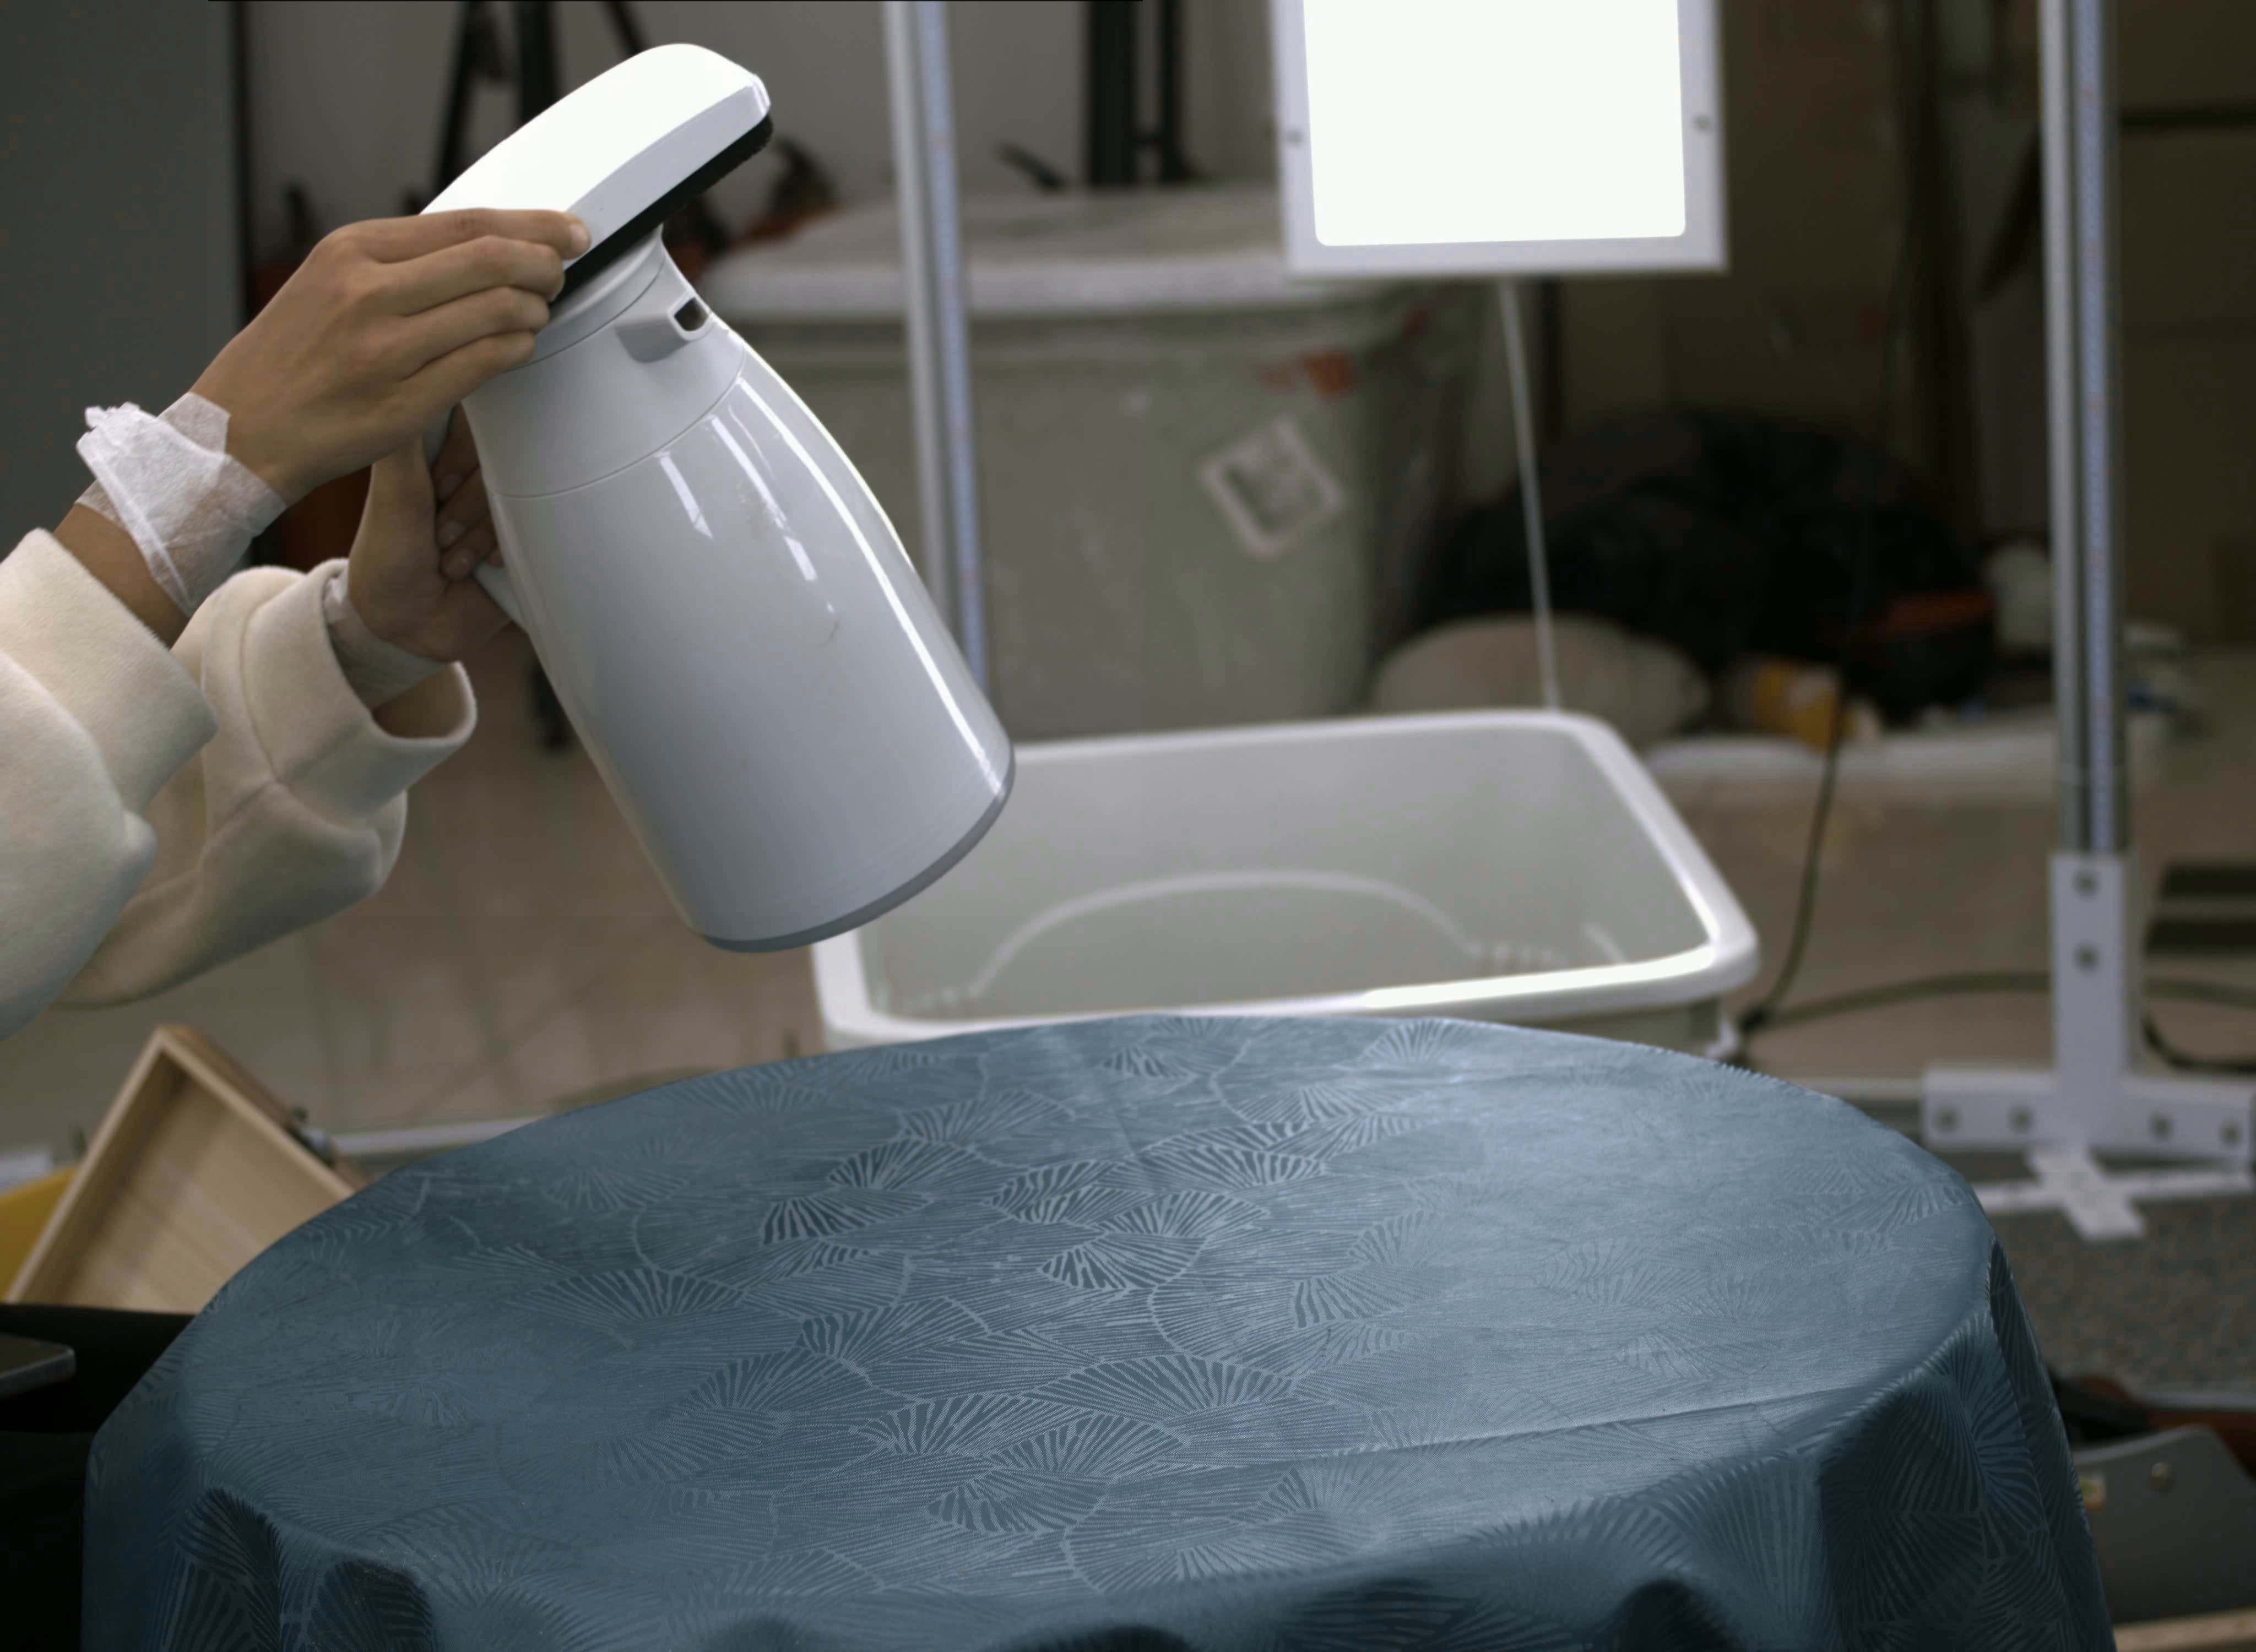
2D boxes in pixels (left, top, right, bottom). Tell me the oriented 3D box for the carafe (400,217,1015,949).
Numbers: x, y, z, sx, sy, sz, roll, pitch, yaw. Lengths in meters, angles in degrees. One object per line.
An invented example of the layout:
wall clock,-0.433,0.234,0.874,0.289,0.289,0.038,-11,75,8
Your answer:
carafe,-0.164,-0.093,1.897,0.171,0.247,0.130,-2,38,41

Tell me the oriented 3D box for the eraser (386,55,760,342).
eraser,-0.183,-0.210,1.816,0.129,0.034,0.064,-40,35,-19
